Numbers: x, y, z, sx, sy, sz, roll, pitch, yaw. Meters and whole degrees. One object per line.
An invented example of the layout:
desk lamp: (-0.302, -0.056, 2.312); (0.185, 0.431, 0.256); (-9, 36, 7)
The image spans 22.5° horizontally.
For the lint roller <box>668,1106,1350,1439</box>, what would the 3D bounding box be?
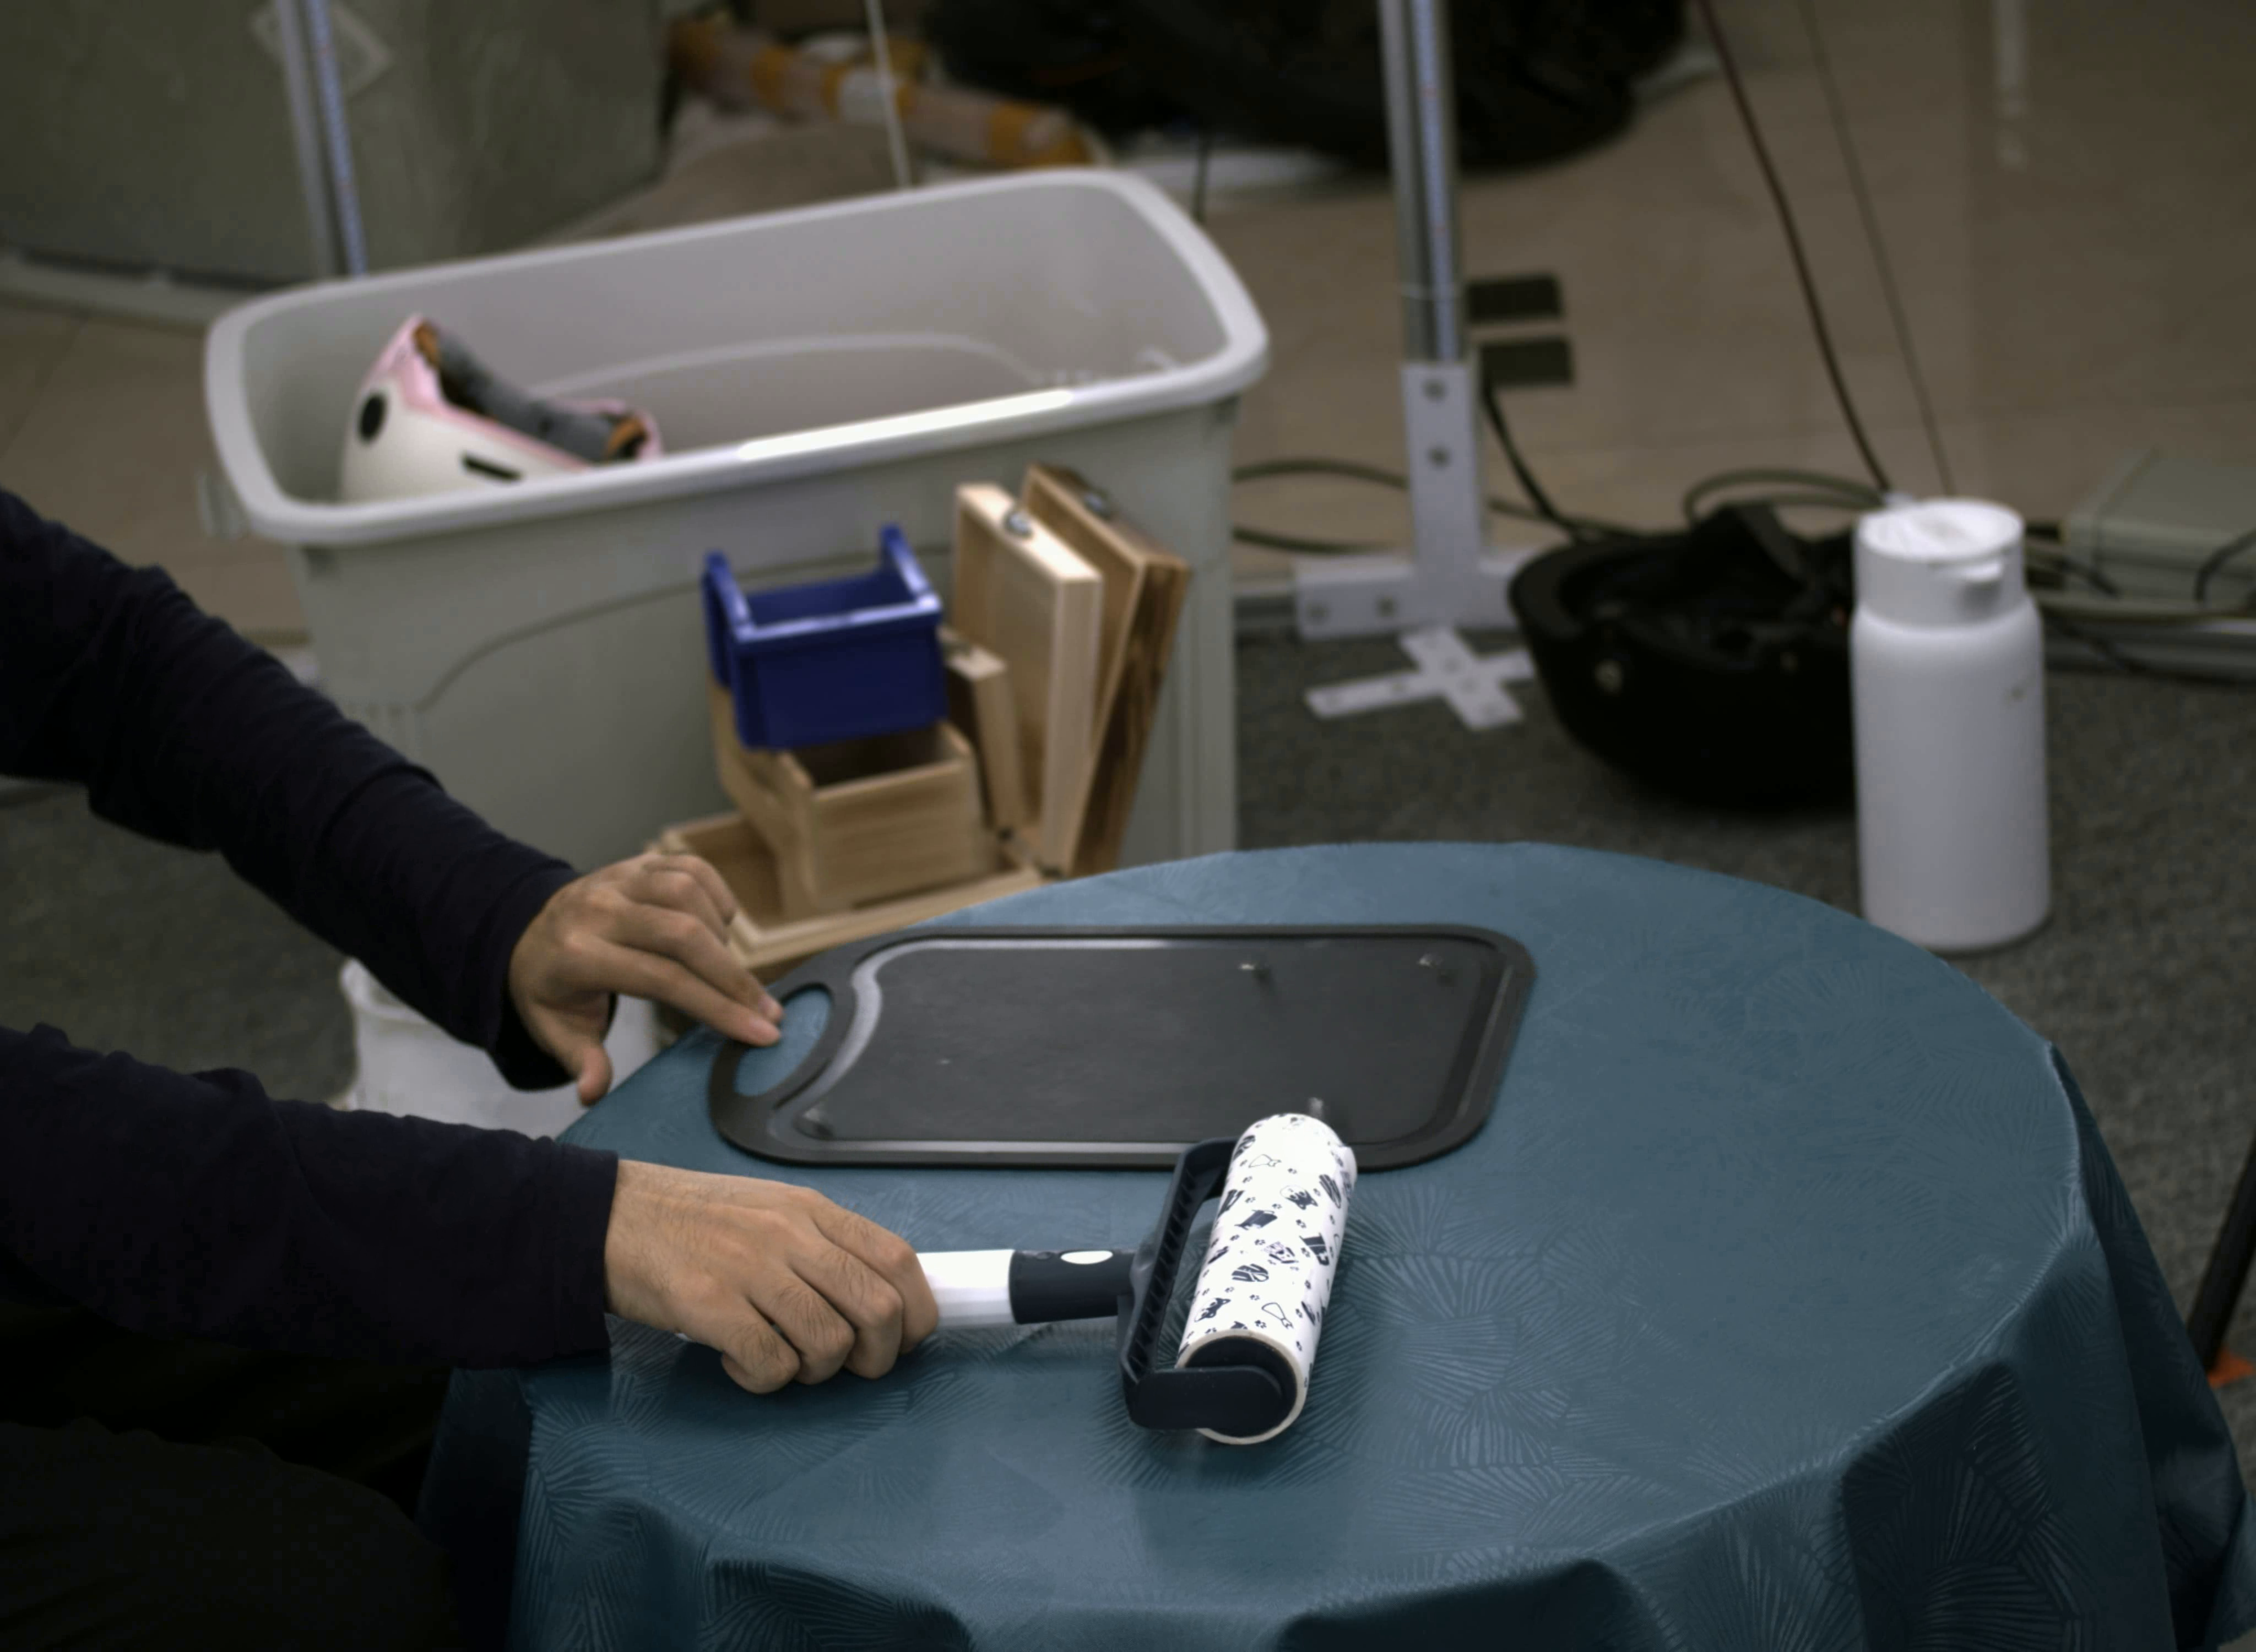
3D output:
lint roller: (-0.049, 0.168, 2.054); (0.247, 0.051, 0.173); (-5, 25, 11)

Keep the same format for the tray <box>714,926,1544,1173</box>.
tray: (-0.004, 0.086, 2.260); (0.325, 0.010, 0.208); (0, 25, 14)
